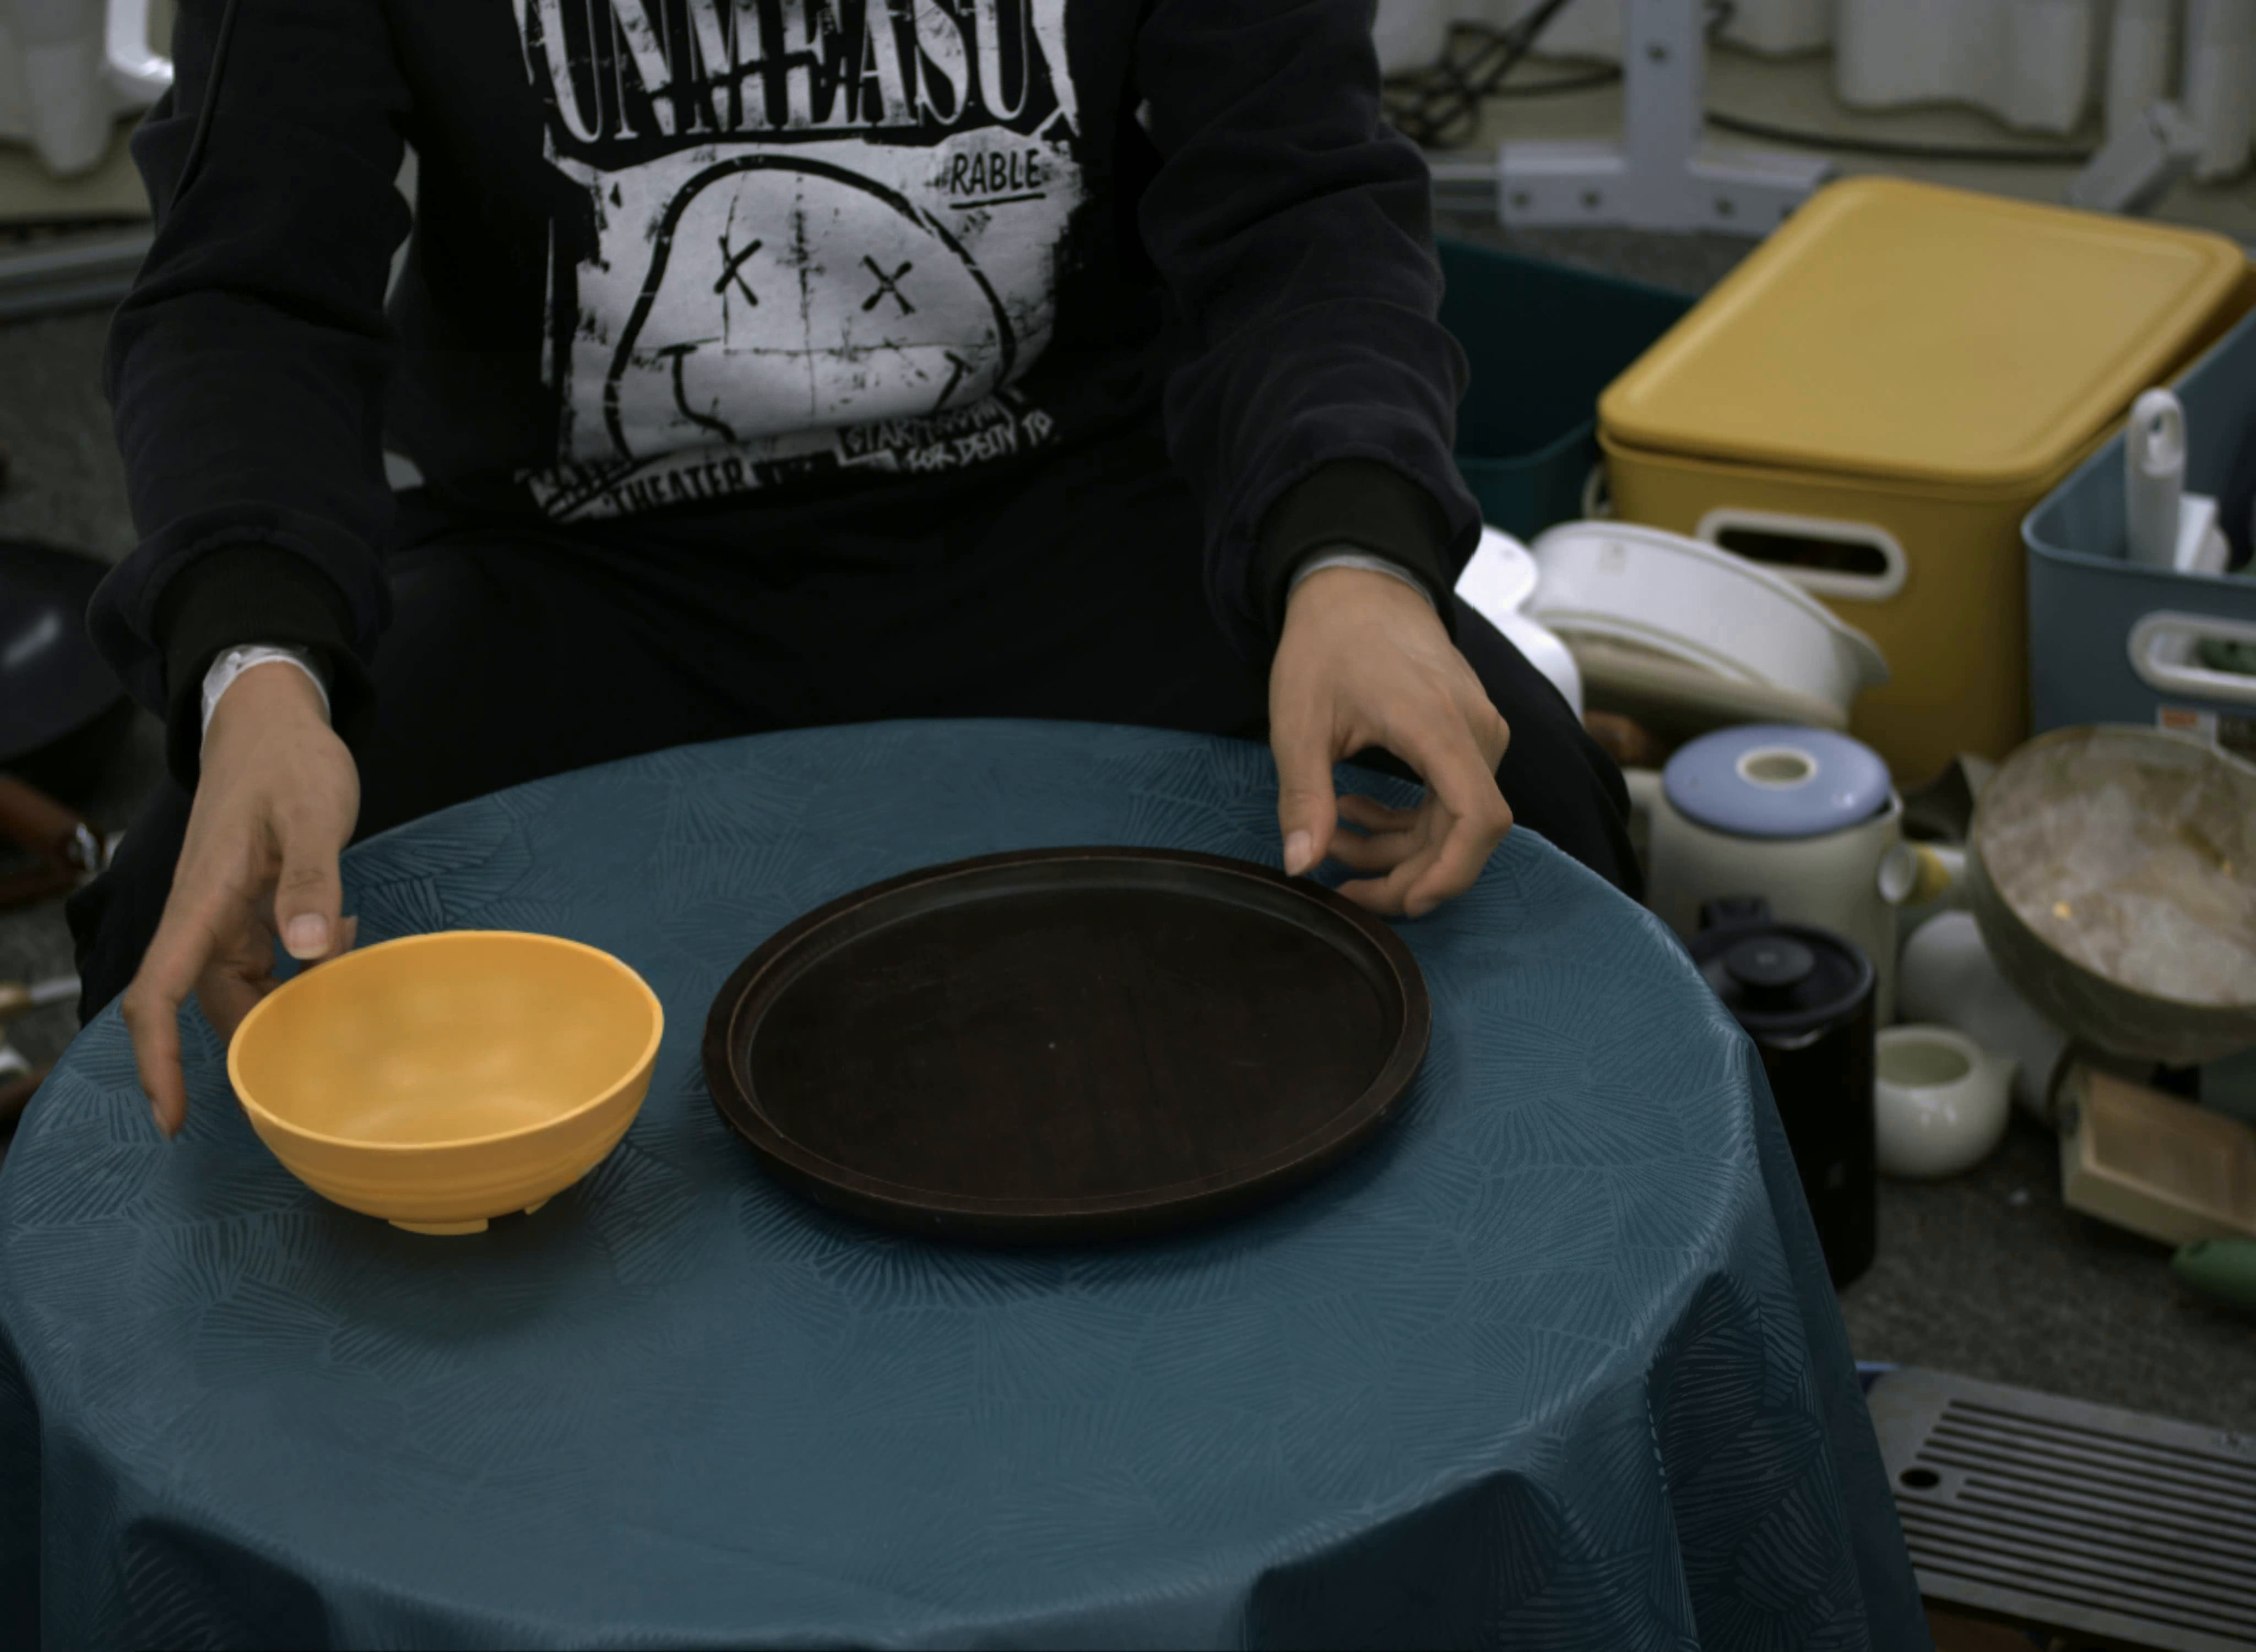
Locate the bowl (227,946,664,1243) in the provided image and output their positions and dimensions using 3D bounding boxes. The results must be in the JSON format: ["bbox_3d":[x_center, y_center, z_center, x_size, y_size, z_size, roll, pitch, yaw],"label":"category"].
[{"bbox_3d":[-0.225,0.098,1.871,0.144,0.059,0.147,-1,25,1],"label":"bowl"}]

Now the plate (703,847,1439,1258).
[{"bbox_3d":[-0.019,0.076,1.928,0.253,0.029,0.258,-4,27,2],"label":"plate"}]
